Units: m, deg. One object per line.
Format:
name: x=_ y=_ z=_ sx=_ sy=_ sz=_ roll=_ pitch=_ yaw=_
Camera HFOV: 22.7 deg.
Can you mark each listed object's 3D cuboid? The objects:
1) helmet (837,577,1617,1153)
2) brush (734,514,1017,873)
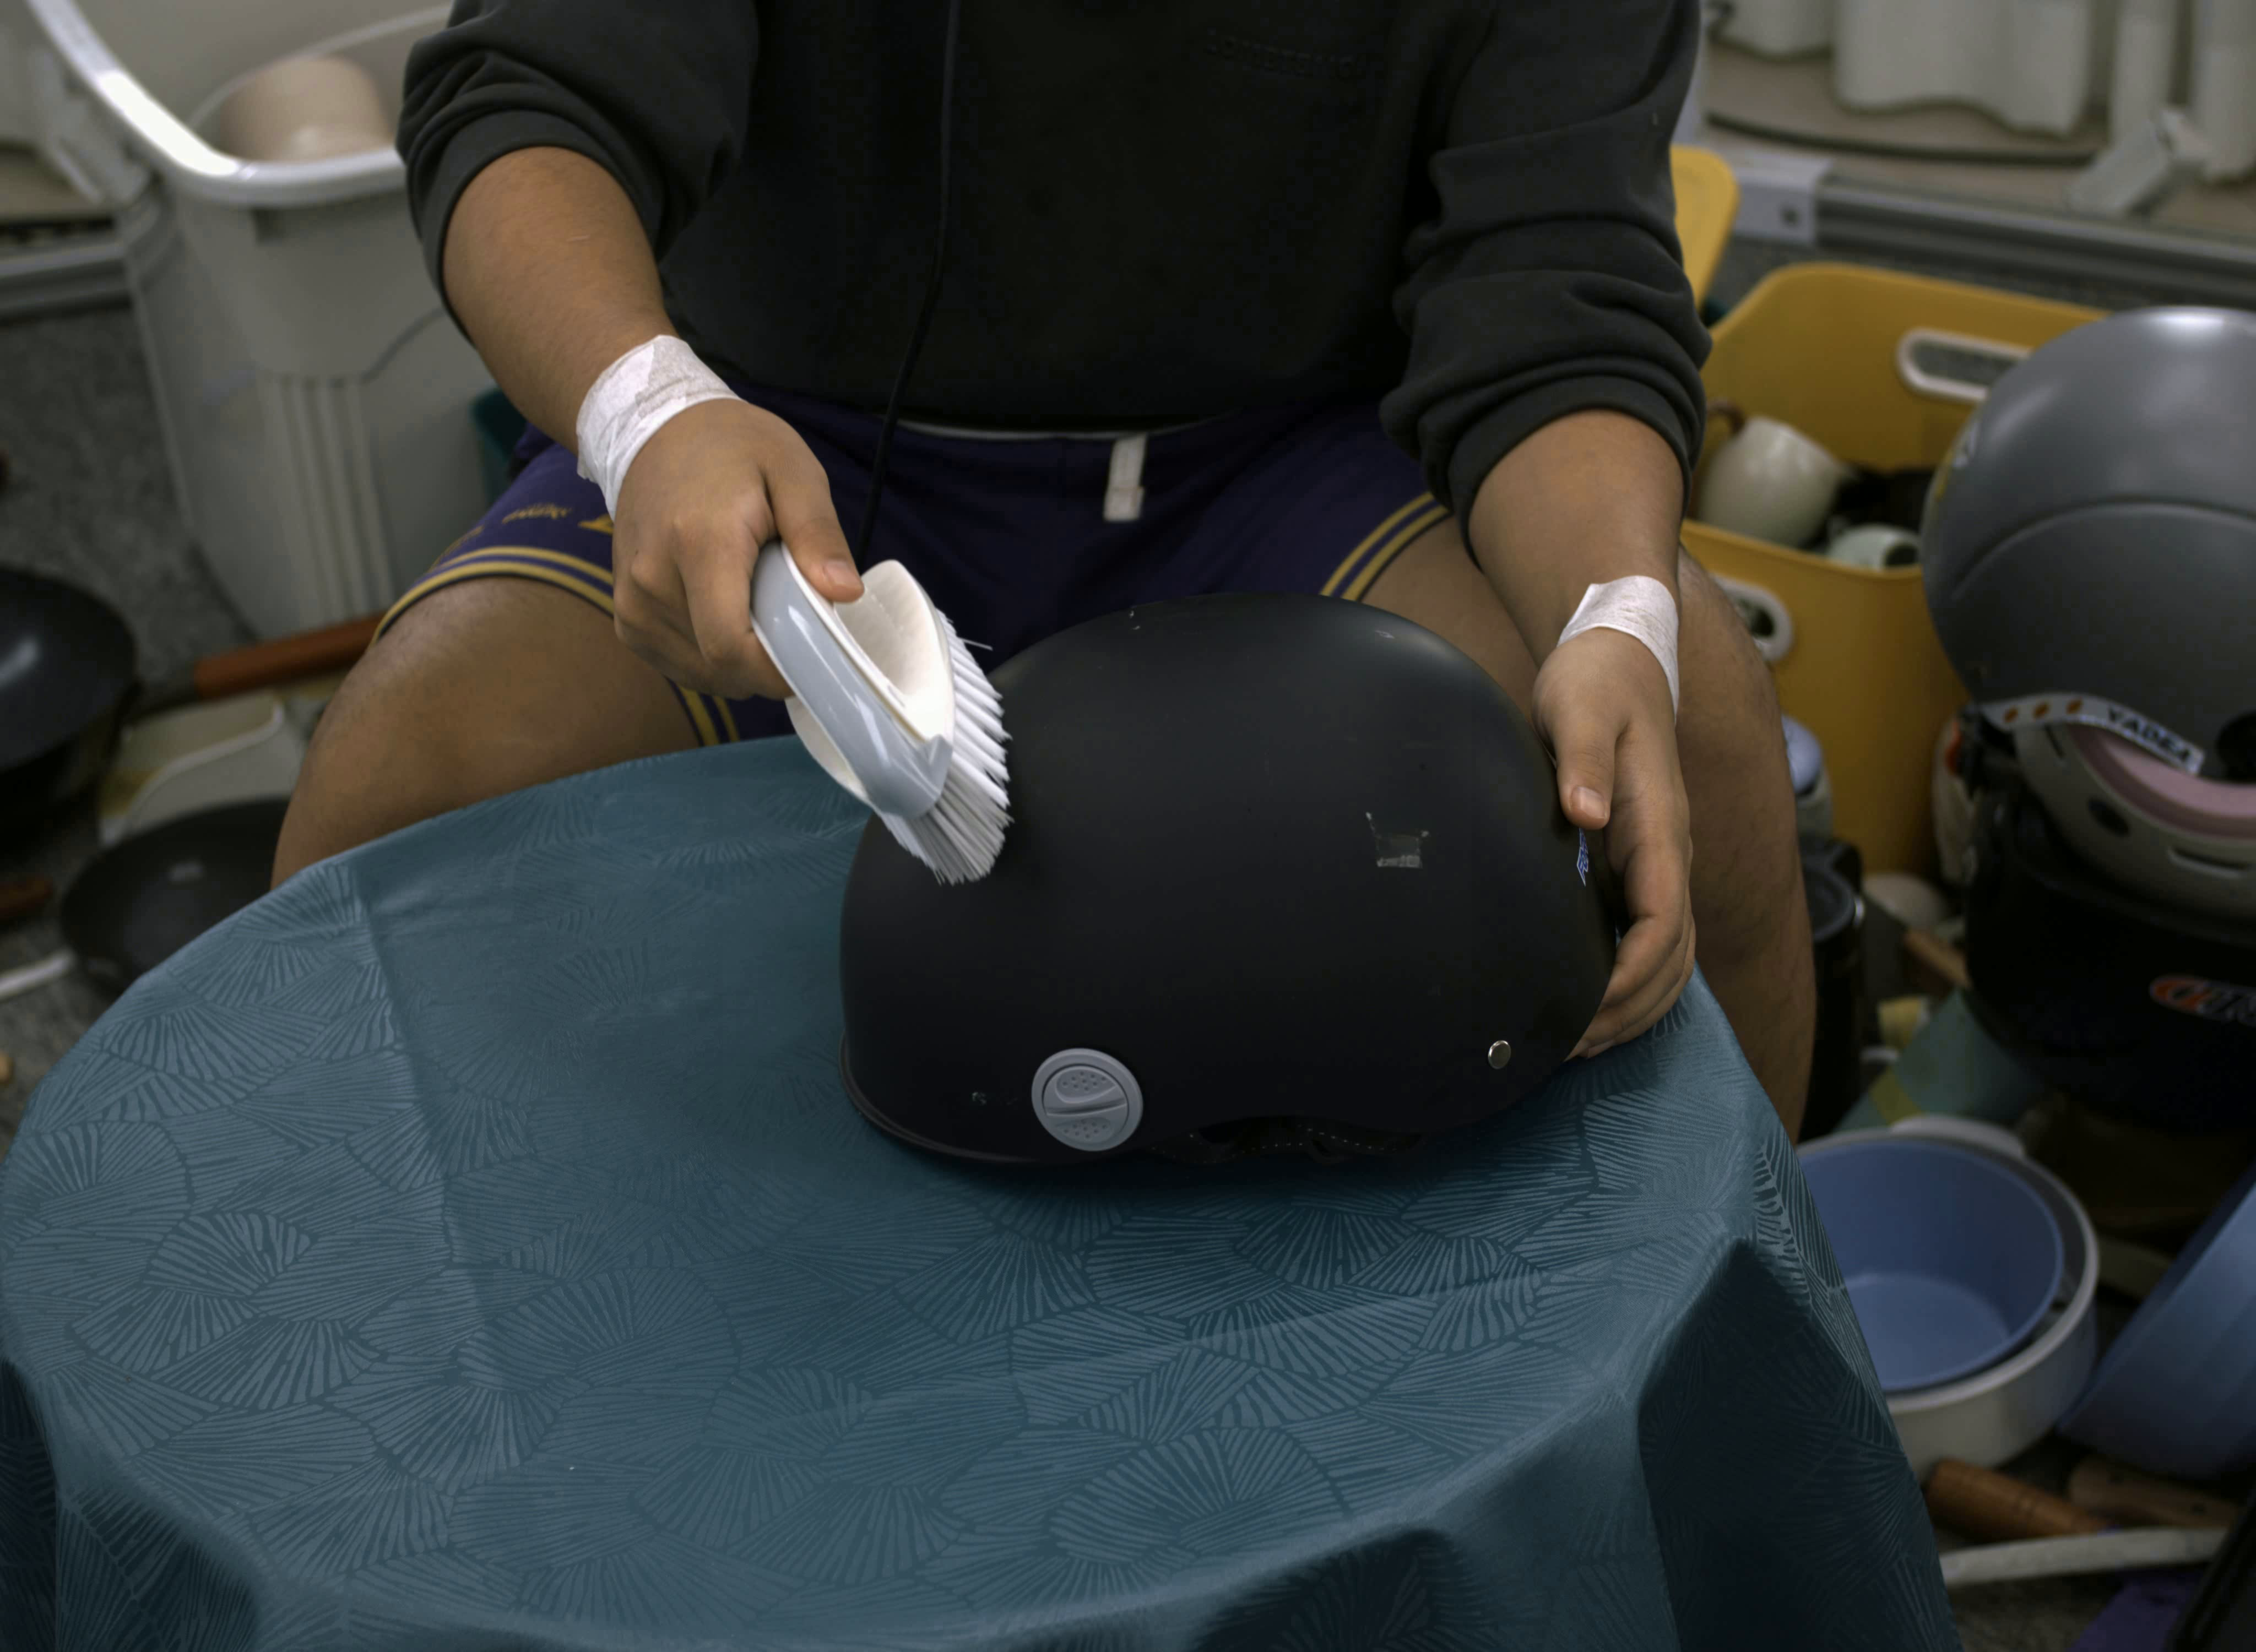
helmet: x=0.028 y=0.004 z=1.915 sx=0.271 sy=0.165 sz=0.233 roll=-2 pitch=26 yaw=6
brush: x=-0.086 y=-0.050 z=1.857 sx=0.061 sy=0.093 sz=0.177 roll=-43 pitch=28 yaw=10
